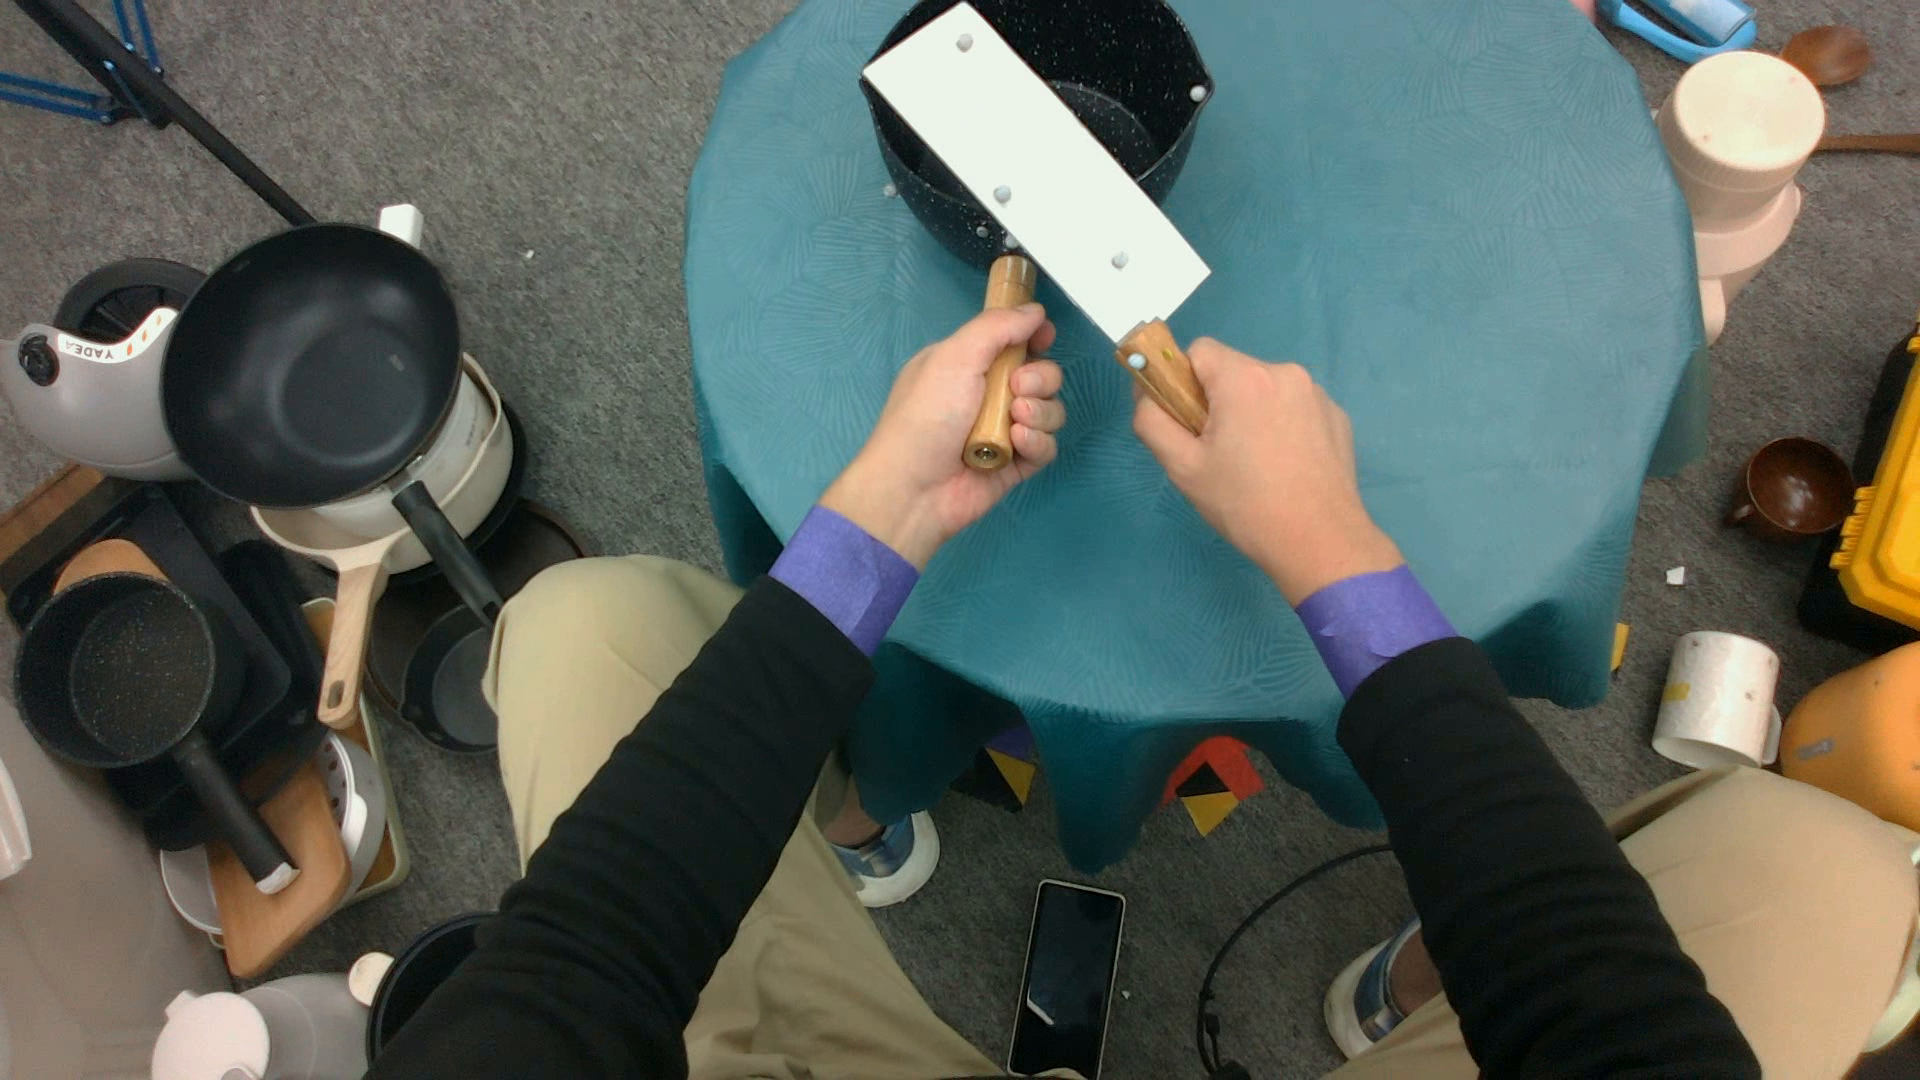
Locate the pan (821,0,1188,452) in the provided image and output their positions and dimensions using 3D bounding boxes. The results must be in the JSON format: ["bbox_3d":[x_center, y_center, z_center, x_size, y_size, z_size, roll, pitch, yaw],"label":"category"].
[{"bbox_3d":[0.020,-0.182,0.766,0.207,0.108,0.344,2,65,5],"label":"pan"}]

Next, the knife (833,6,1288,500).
[{"bbox_3d":[0.066,-0.151,0.700,0.305,0.021,0.093,45,54,-5],"label":"knife"}]
